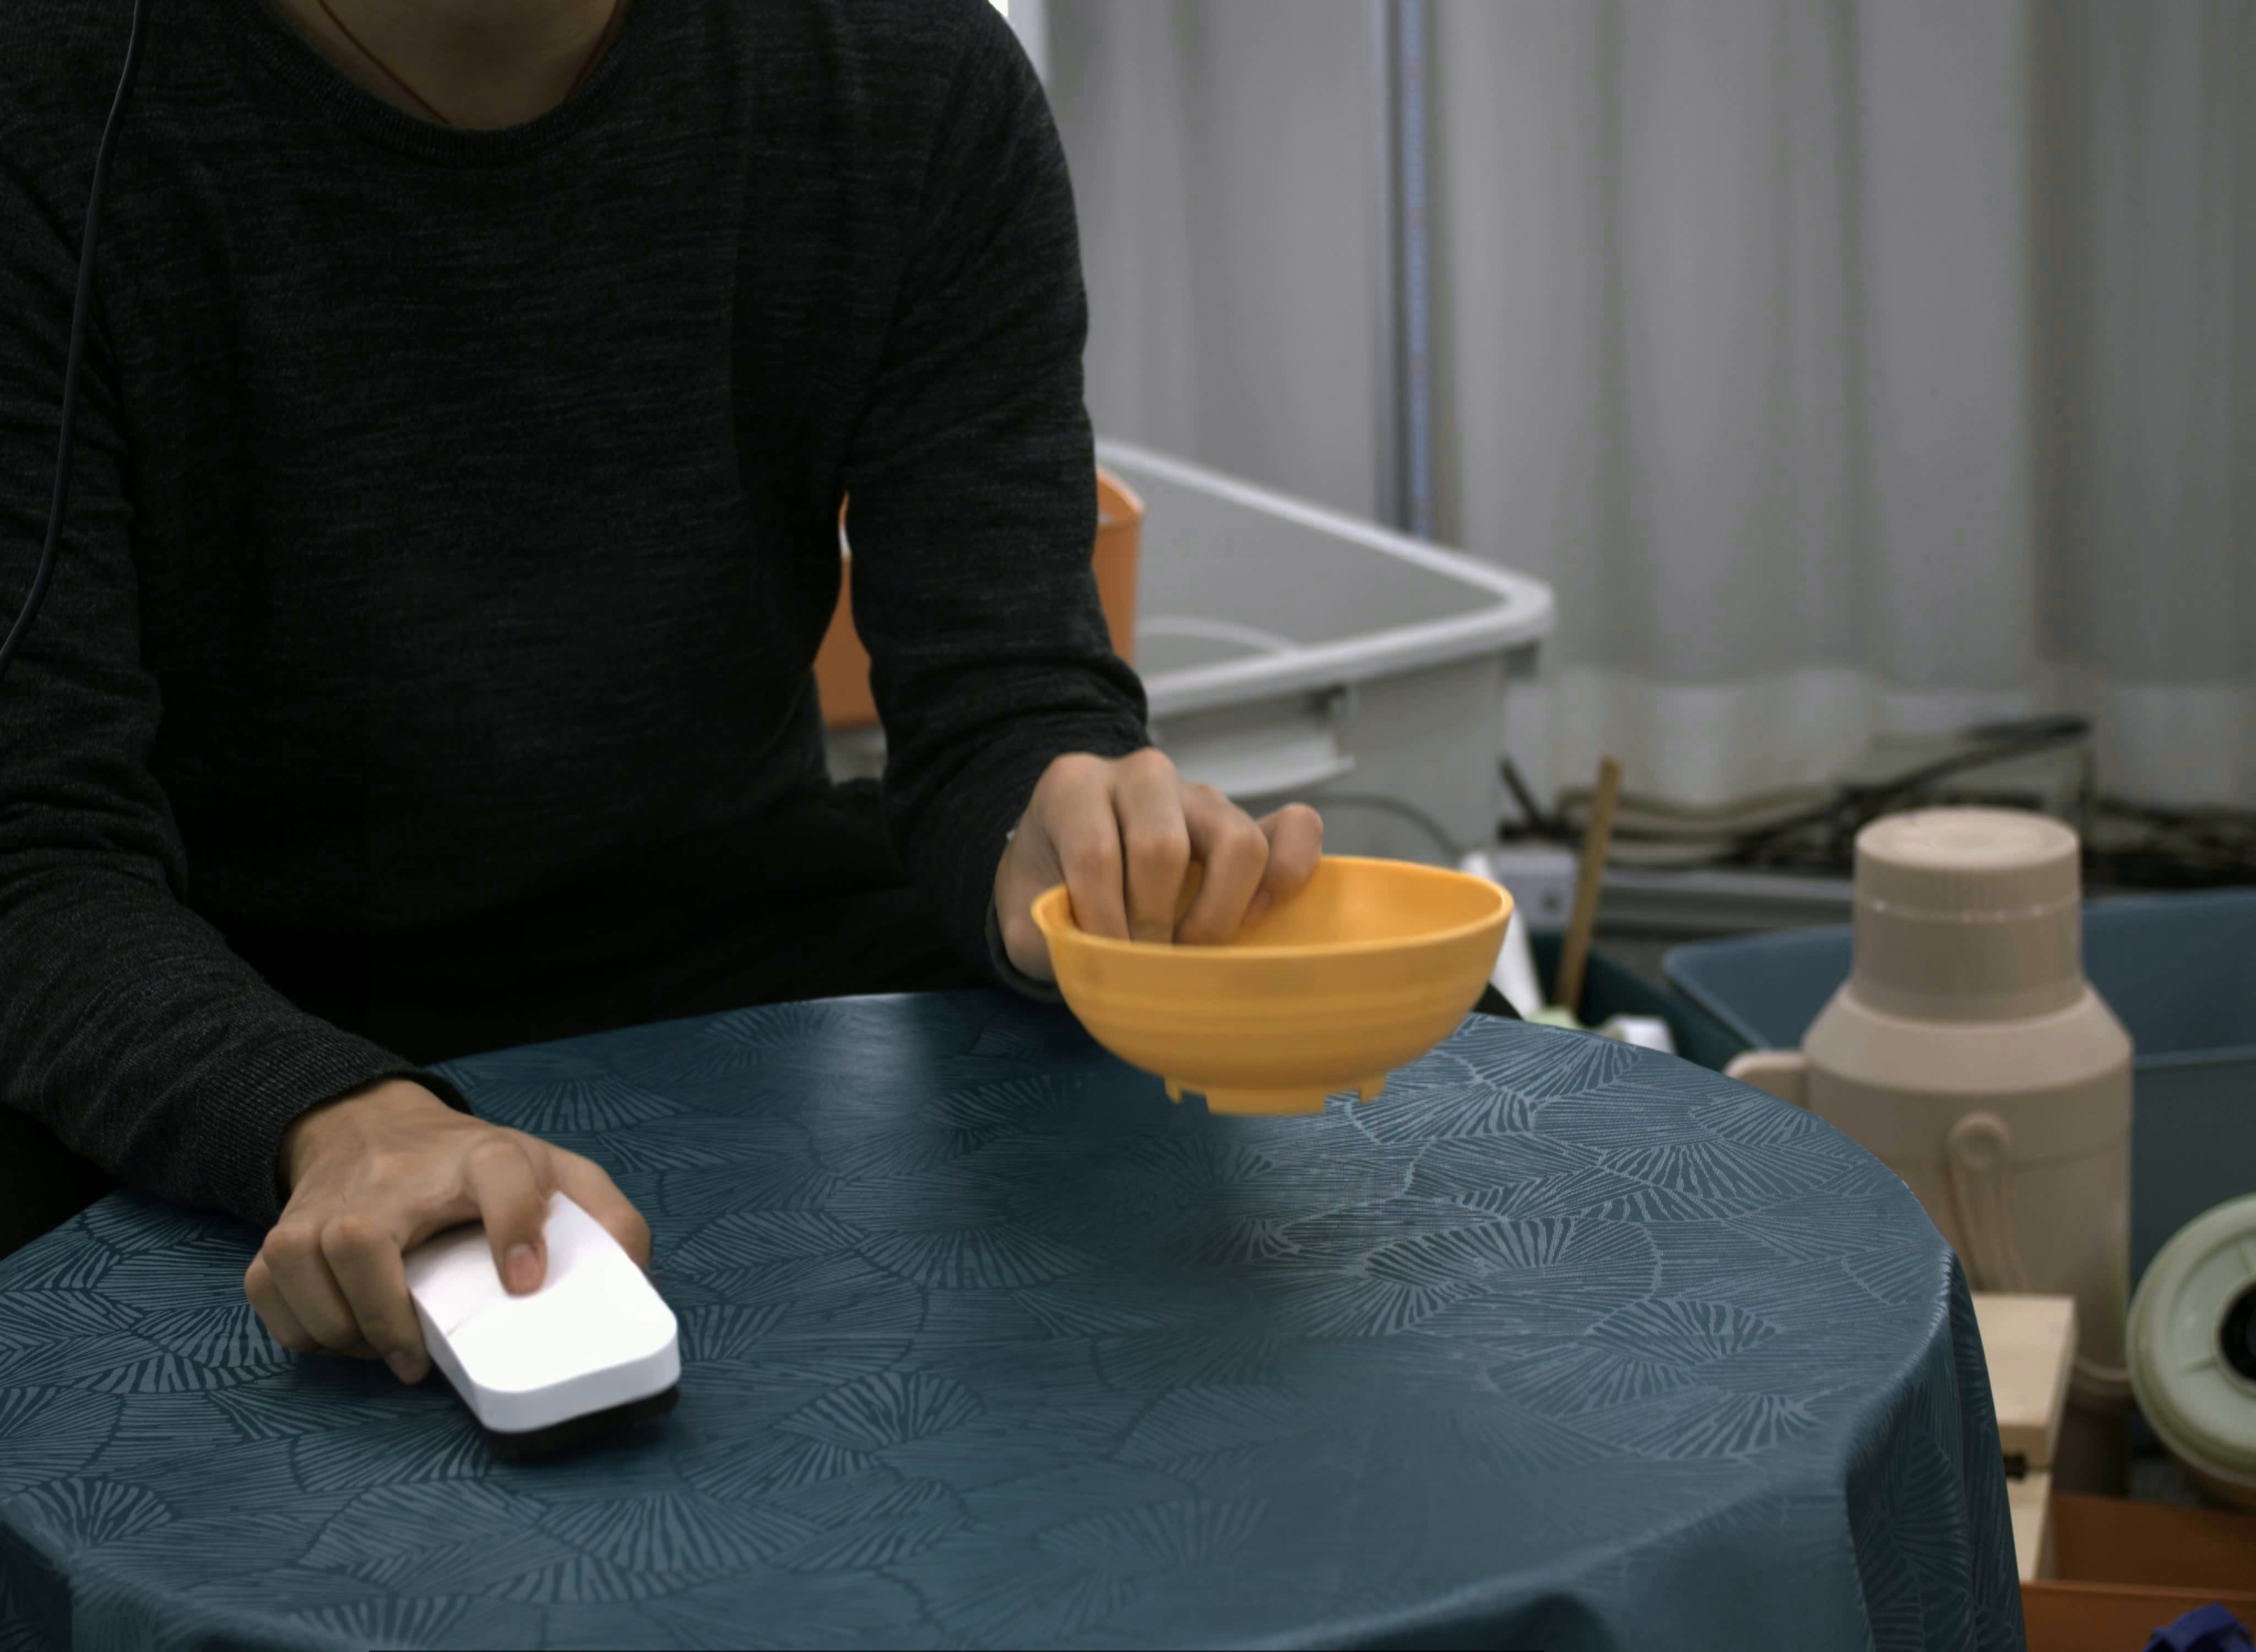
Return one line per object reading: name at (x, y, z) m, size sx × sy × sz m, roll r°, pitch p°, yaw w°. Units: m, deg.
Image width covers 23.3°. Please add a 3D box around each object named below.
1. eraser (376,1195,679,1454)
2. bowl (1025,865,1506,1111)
eraser at (-0.171, 0.138, 1.566) m, size 0.063 × 0.034 × 0.132 m, roll -14°, pitch 20°, yaw -18°
bowl at (0.041, 0.050, 1.637) m, size 0.145 × 0.060 × 0.146 m, roll 0°, pitch 8°, yaw 0°
